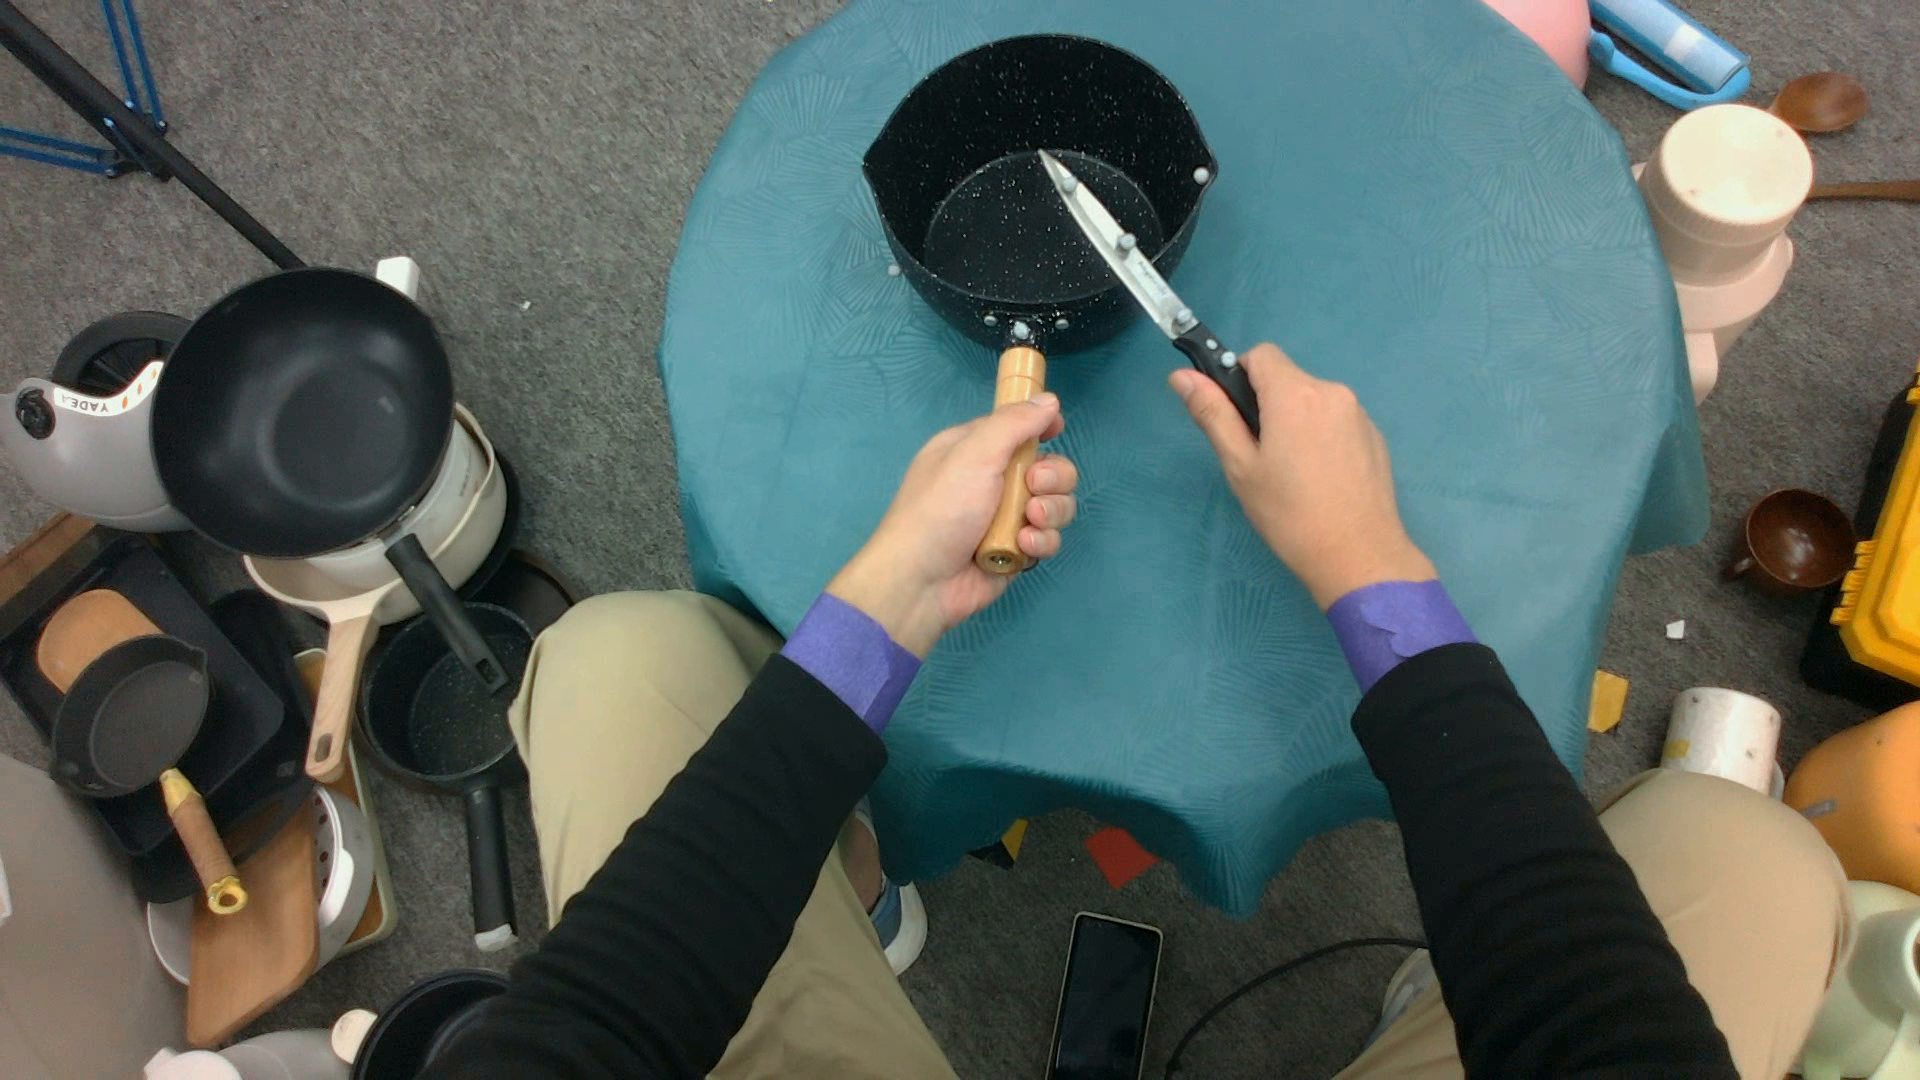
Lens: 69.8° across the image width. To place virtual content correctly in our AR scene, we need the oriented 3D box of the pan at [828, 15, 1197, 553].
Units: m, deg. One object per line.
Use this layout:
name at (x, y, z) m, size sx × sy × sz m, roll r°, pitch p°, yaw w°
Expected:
pan at (0.025, -0.136, 0.765) m, size 0.207 × 0.108 × 0.344 m, roll 2°, pitch 66°, yaw 5°

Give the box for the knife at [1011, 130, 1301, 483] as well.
knife at (0.103, -0.128, 0.729) m, size 0.024 × 0.016 × 0.238 m, roll -35°, pitch 85°, yaw -30°
